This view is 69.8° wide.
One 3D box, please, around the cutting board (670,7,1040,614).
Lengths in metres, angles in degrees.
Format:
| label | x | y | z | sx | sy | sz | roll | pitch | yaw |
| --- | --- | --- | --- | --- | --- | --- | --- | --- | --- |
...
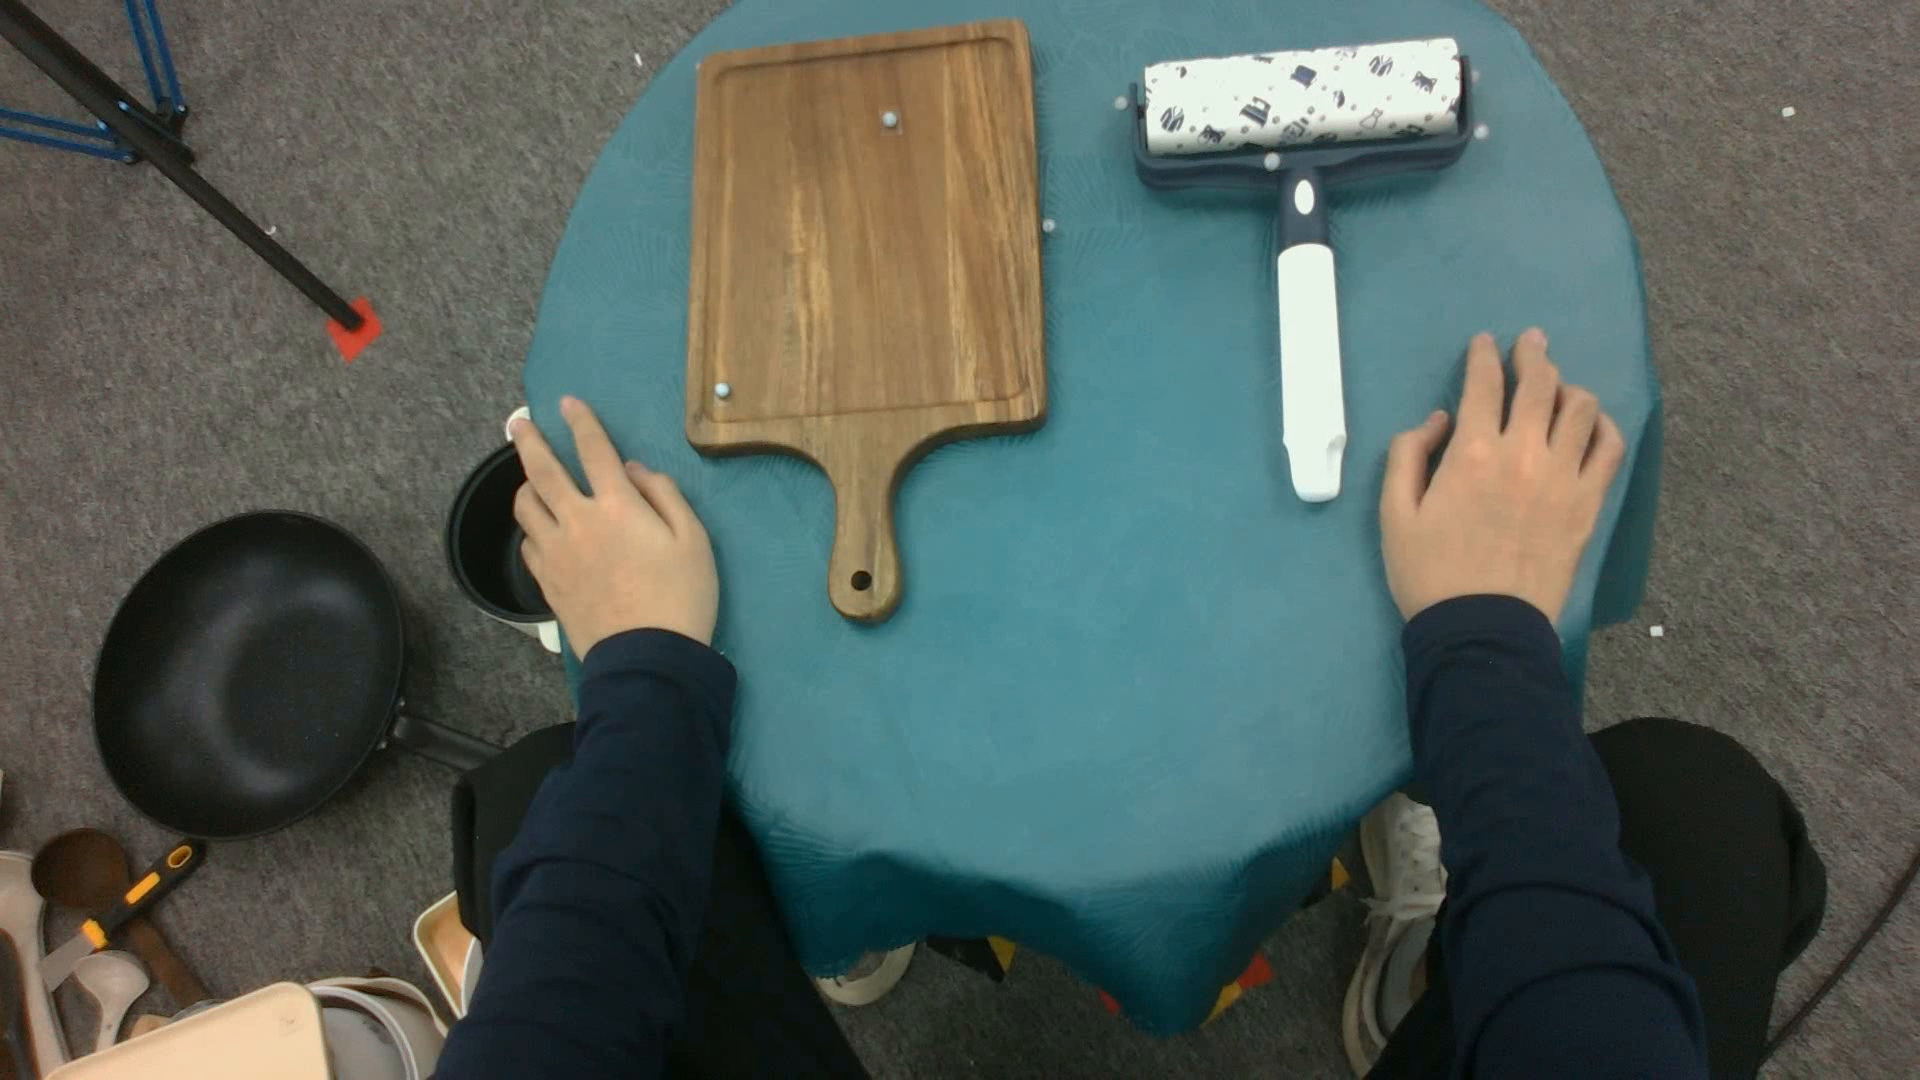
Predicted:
| label | x | y | z | sx | sy | sz | roll | pitch | yaw |
| --- | --- | --- | --- | --- | --- | --- | --- | --- | --- |
| cutting board | -0.061 | -0.131 | 0.752 | 0.201 | 0.023 | 0.353 | -5 | 71 | 7 |

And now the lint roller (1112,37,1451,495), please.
| label | x | y | z | sx | sy | sz | roll | pitch | yaw |
| --- | --- | --- | --- | --- | --- | --- | --- | --- | --- |
| lint roller | 0.173 | -0.146 | 0.714 | 0.176 | 0.050 | 0.247 | -3 | 73 | 6 |
